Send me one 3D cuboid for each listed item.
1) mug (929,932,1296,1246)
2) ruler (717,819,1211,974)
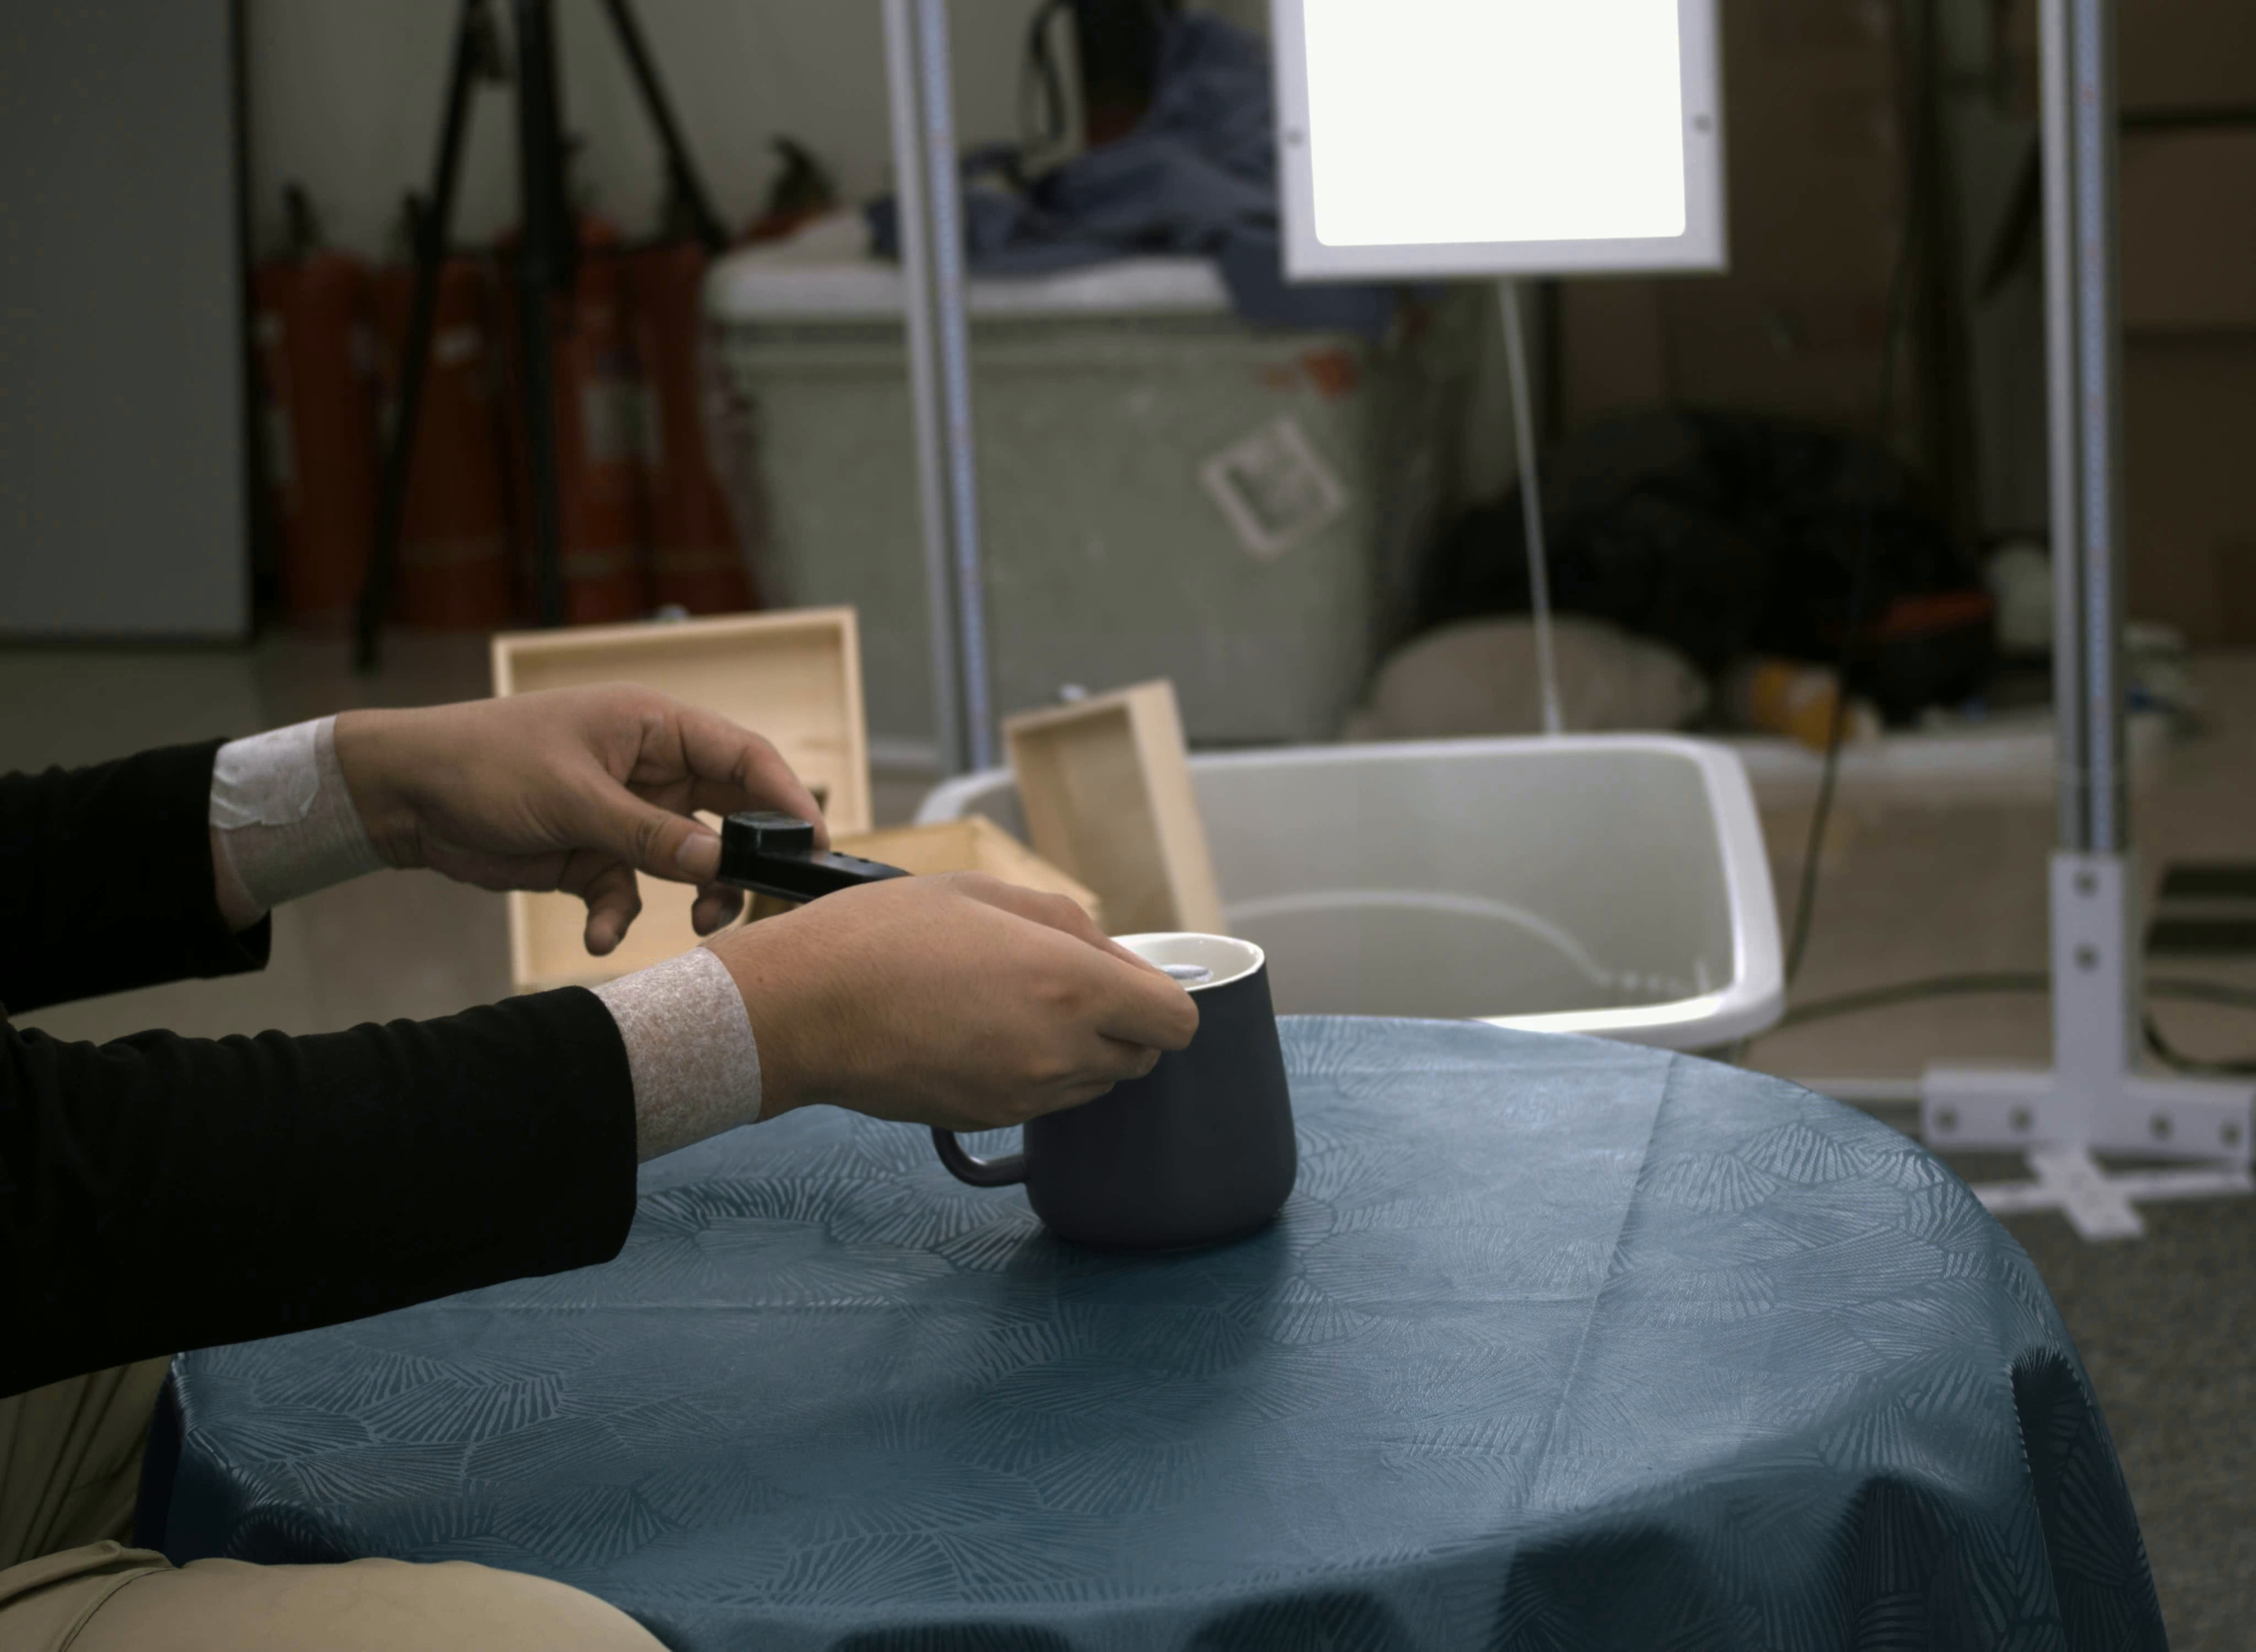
[{"bbox_3d":[-0.006,0.089,1.856,0.123,0.090,0.093,-4,13,0],"label":"mug"},{"bbox_3d":[-0.061,0.022,1.849,0.037,0.024,0.223,-13,16,-42],"label":"ruler"}]
